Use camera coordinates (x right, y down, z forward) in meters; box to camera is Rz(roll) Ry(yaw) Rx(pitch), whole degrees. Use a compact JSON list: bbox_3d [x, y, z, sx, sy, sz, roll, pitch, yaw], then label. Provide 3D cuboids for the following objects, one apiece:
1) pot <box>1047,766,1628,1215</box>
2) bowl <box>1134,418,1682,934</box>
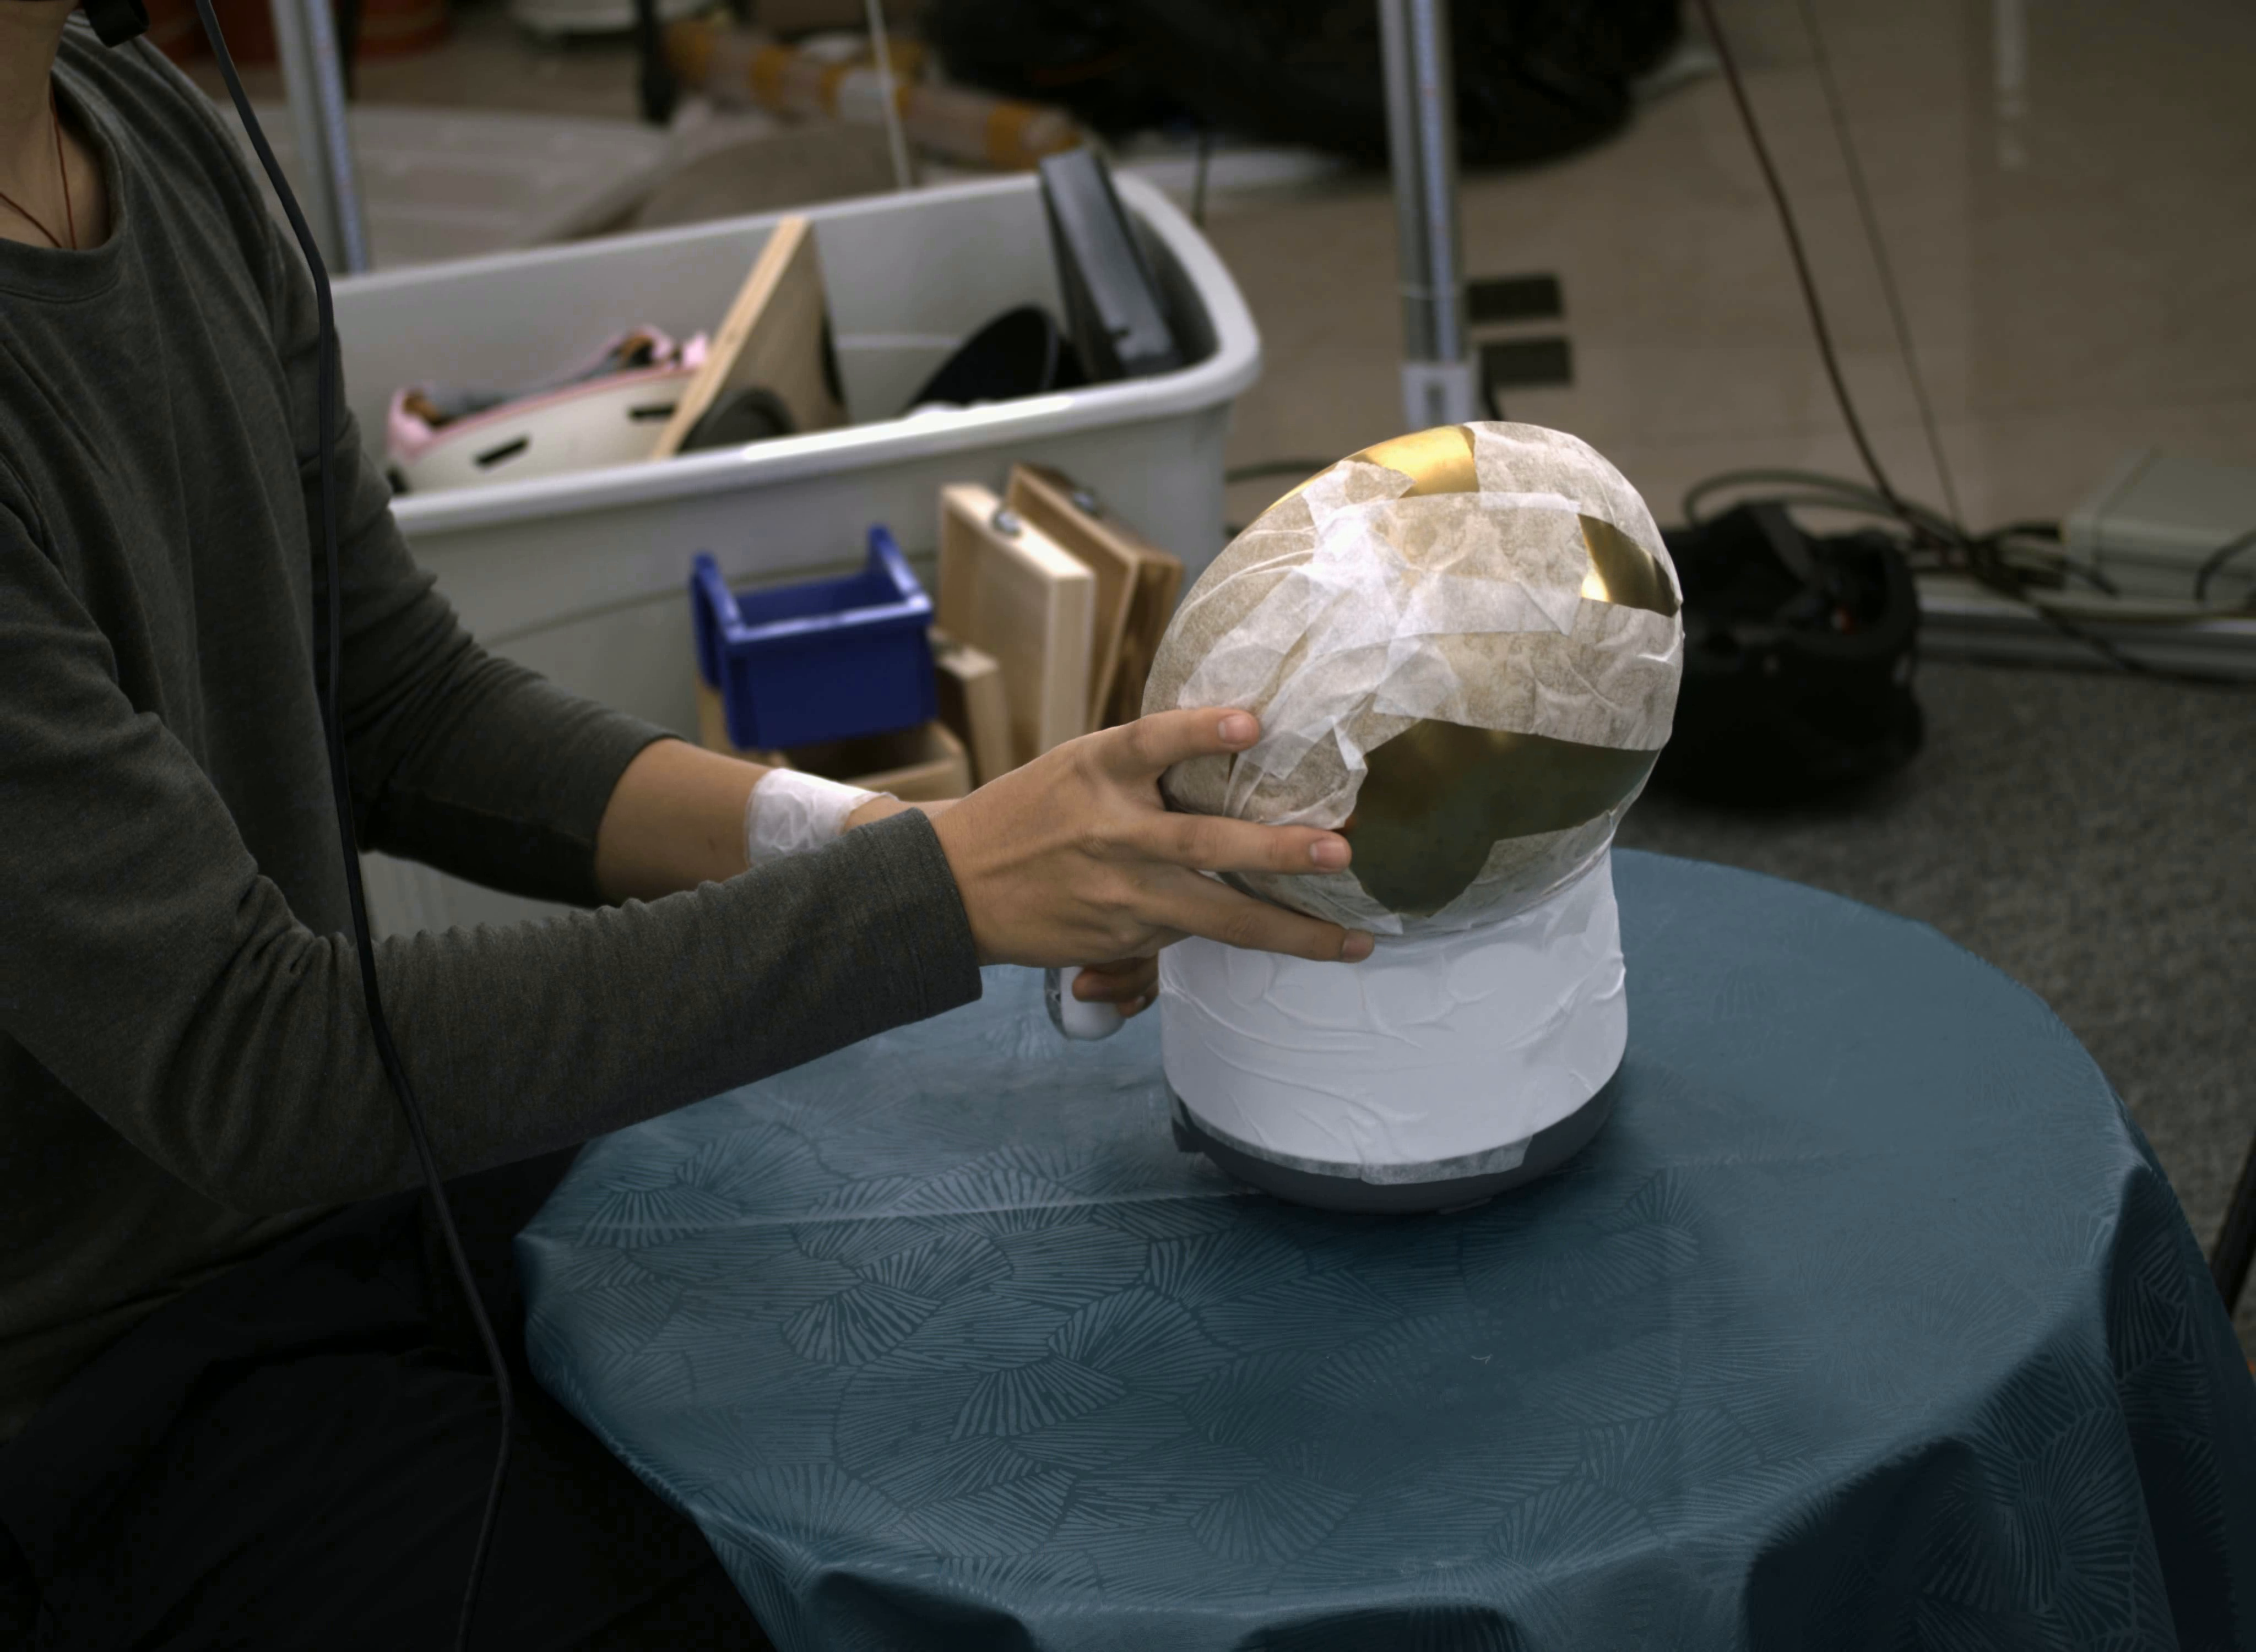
[{"bbox_3d":[0.074,0.049,2.146,0.233,0.139,0.176,9,32,24],"label":"pot"},{"bbox_3d":[0.111,-0.032,1.975,0.214,0.219,0.093,-16,47,-20],"label":"bowl"}]
